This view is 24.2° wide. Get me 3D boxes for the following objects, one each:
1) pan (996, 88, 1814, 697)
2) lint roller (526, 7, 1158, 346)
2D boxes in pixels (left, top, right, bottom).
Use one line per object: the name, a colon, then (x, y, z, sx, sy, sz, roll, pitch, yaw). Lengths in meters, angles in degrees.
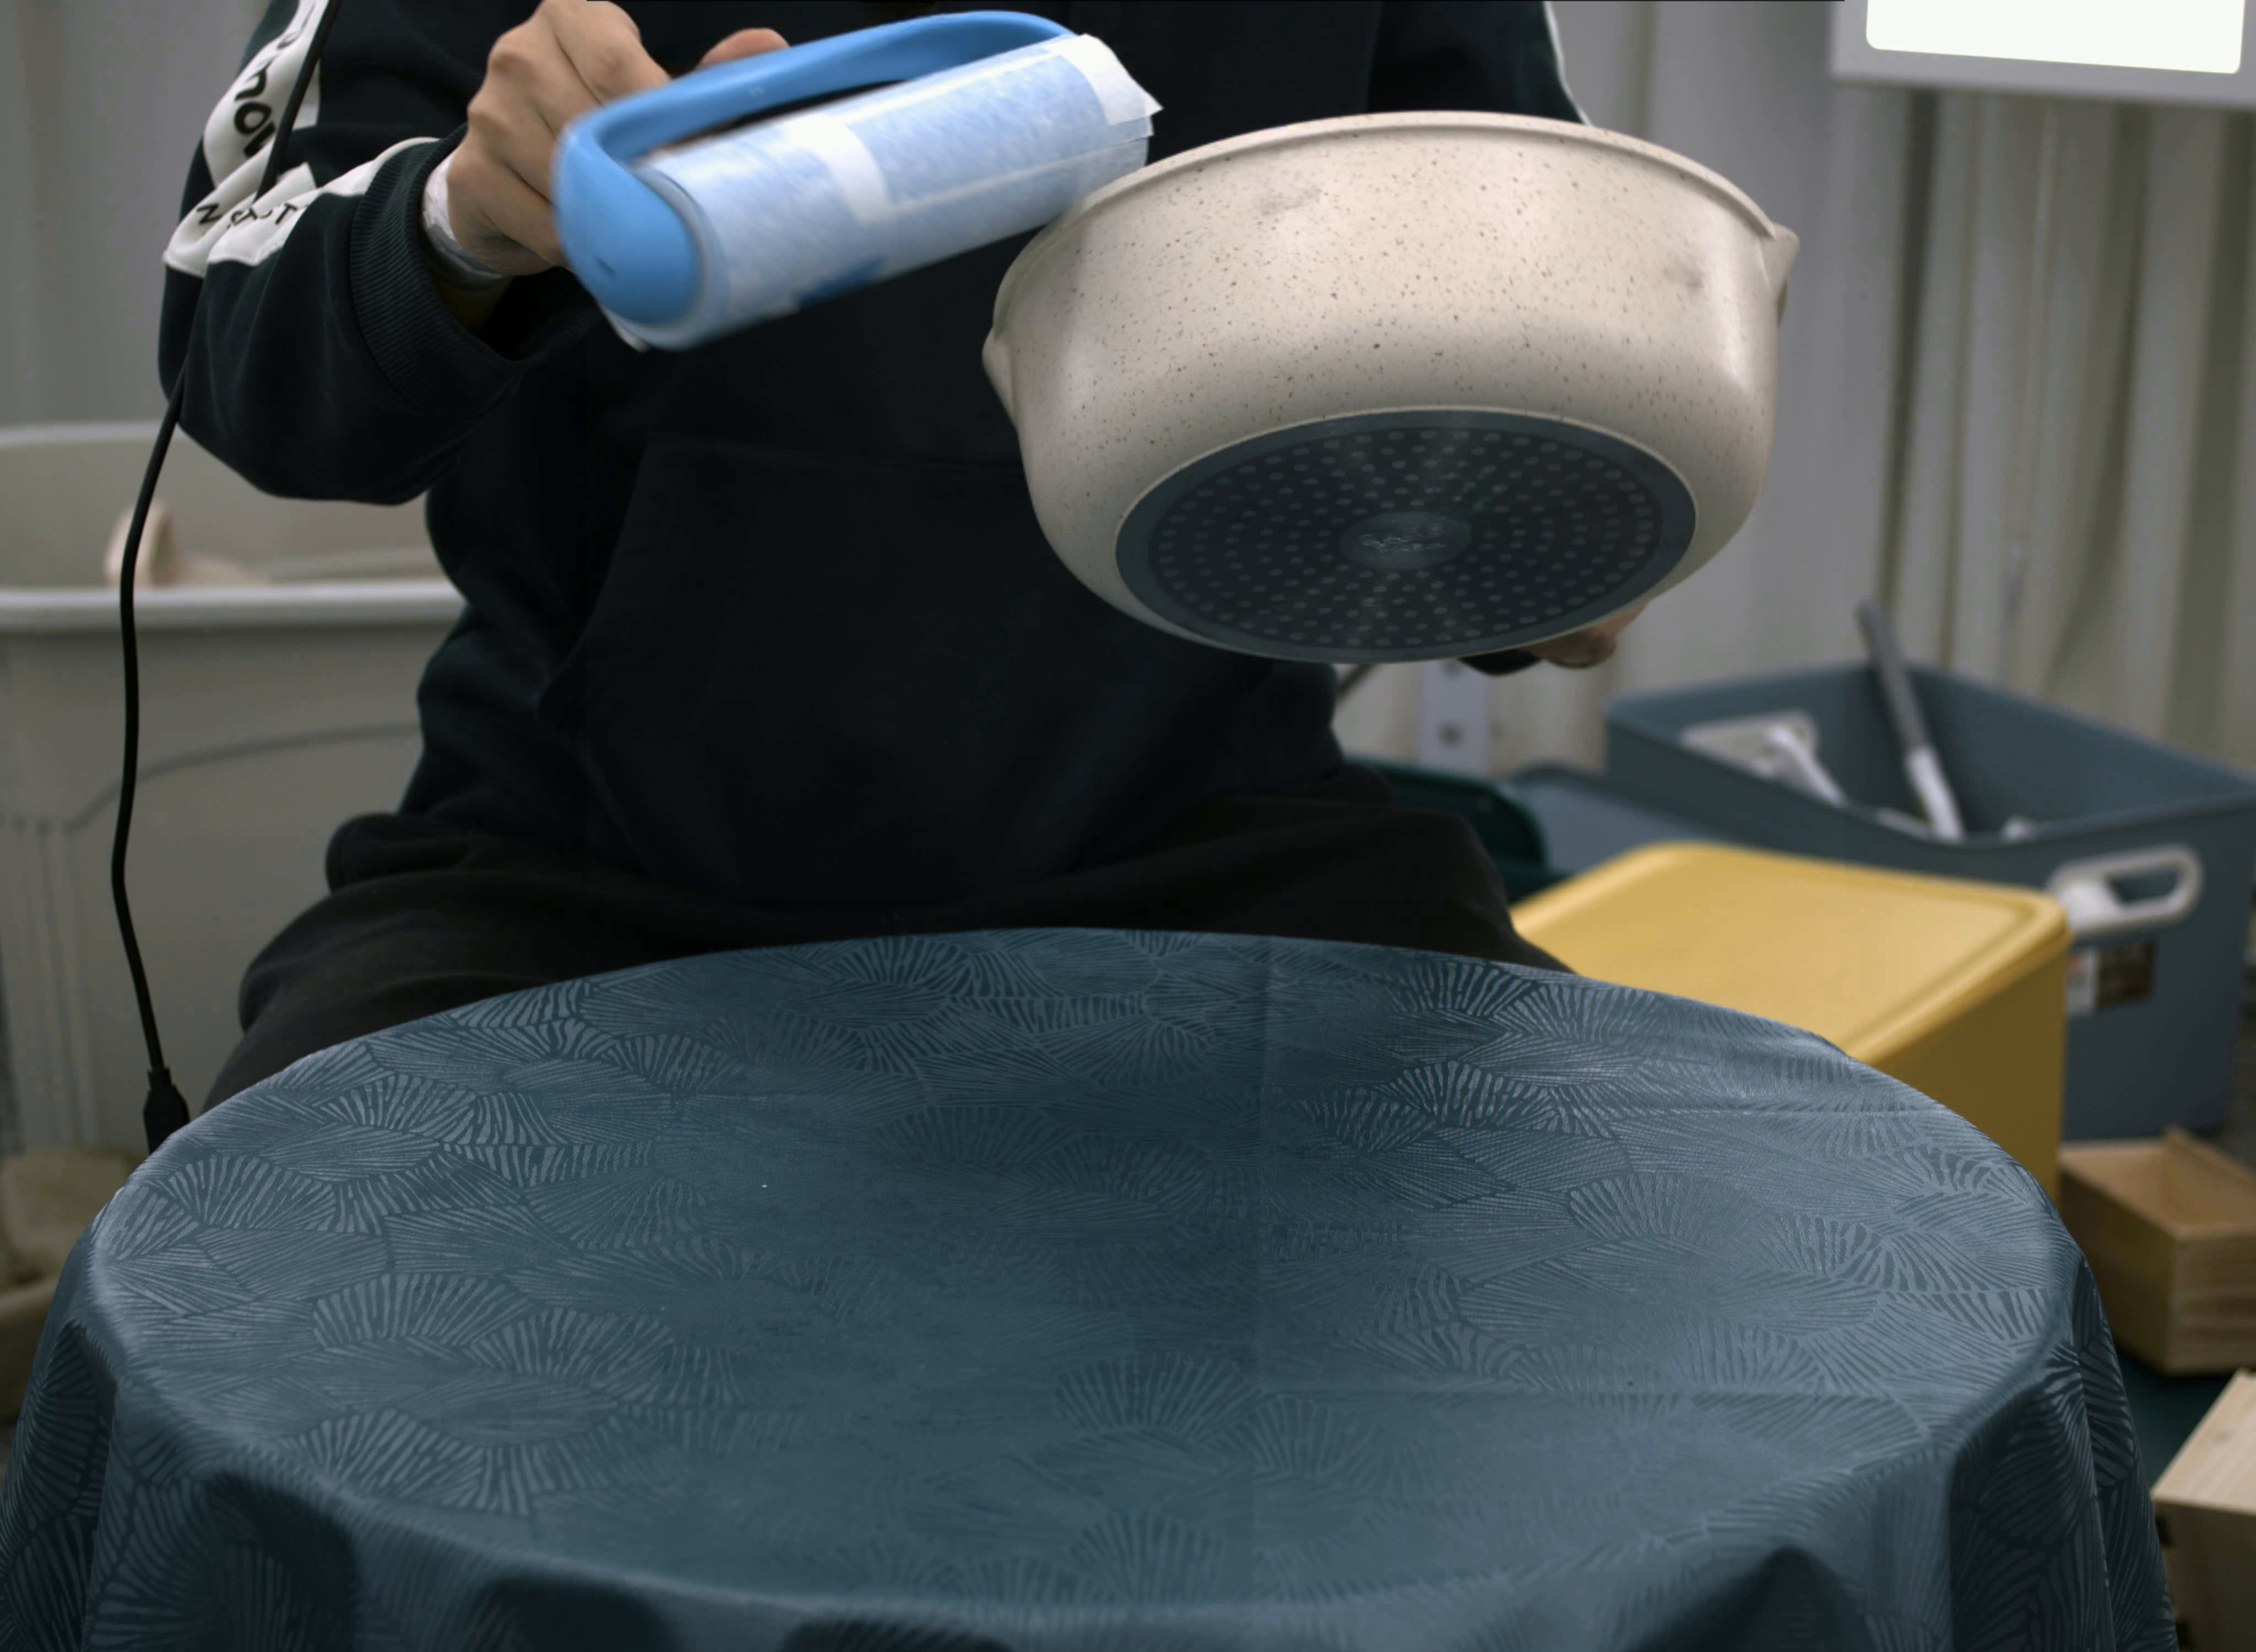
pan: (0.113, -0.101, 1.730, 0.262, 0.101, 0.440, -10, -24, 12)
lint roller: (-0.117, -0.198, 1.582, 0.178, 0.068, 0.229, 7, 24, 35)
